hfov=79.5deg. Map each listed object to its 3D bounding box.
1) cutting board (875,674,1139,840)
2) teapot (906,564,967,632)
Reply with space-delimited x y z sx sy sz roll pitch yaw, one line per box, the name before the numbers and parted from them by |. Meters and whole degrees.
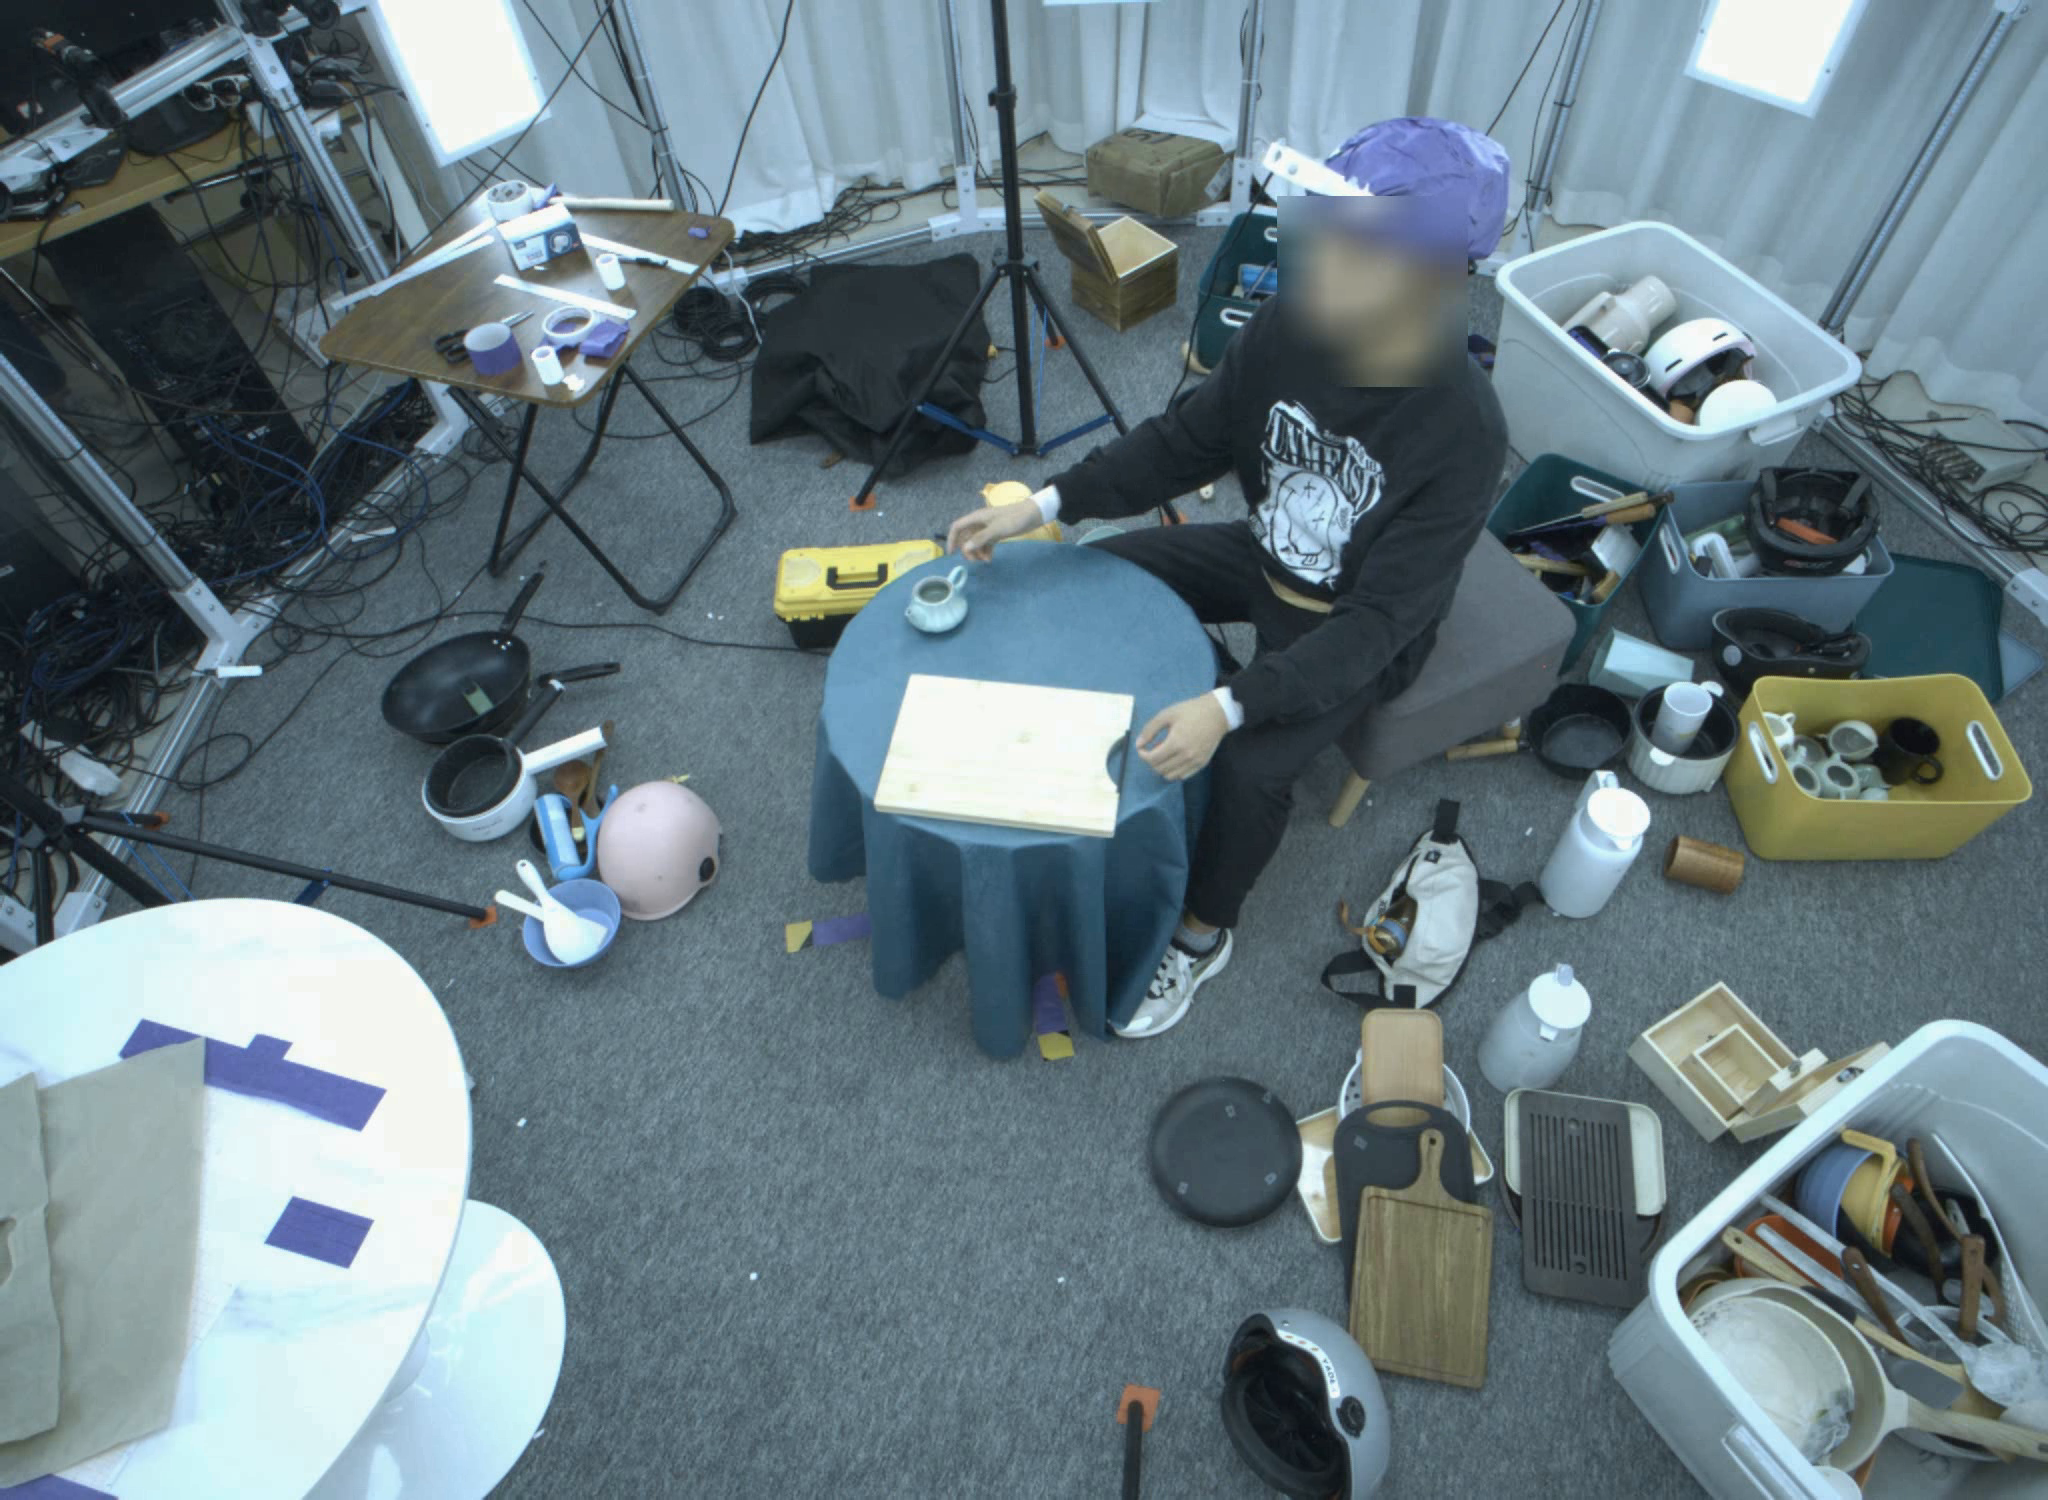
cutting board | -0.019 0.004 1.771 0.347 0.024 0.249 5 55 6
teapot | -0.136 -0.234 1.918 0.094 0.062 0.137 29 61 23
